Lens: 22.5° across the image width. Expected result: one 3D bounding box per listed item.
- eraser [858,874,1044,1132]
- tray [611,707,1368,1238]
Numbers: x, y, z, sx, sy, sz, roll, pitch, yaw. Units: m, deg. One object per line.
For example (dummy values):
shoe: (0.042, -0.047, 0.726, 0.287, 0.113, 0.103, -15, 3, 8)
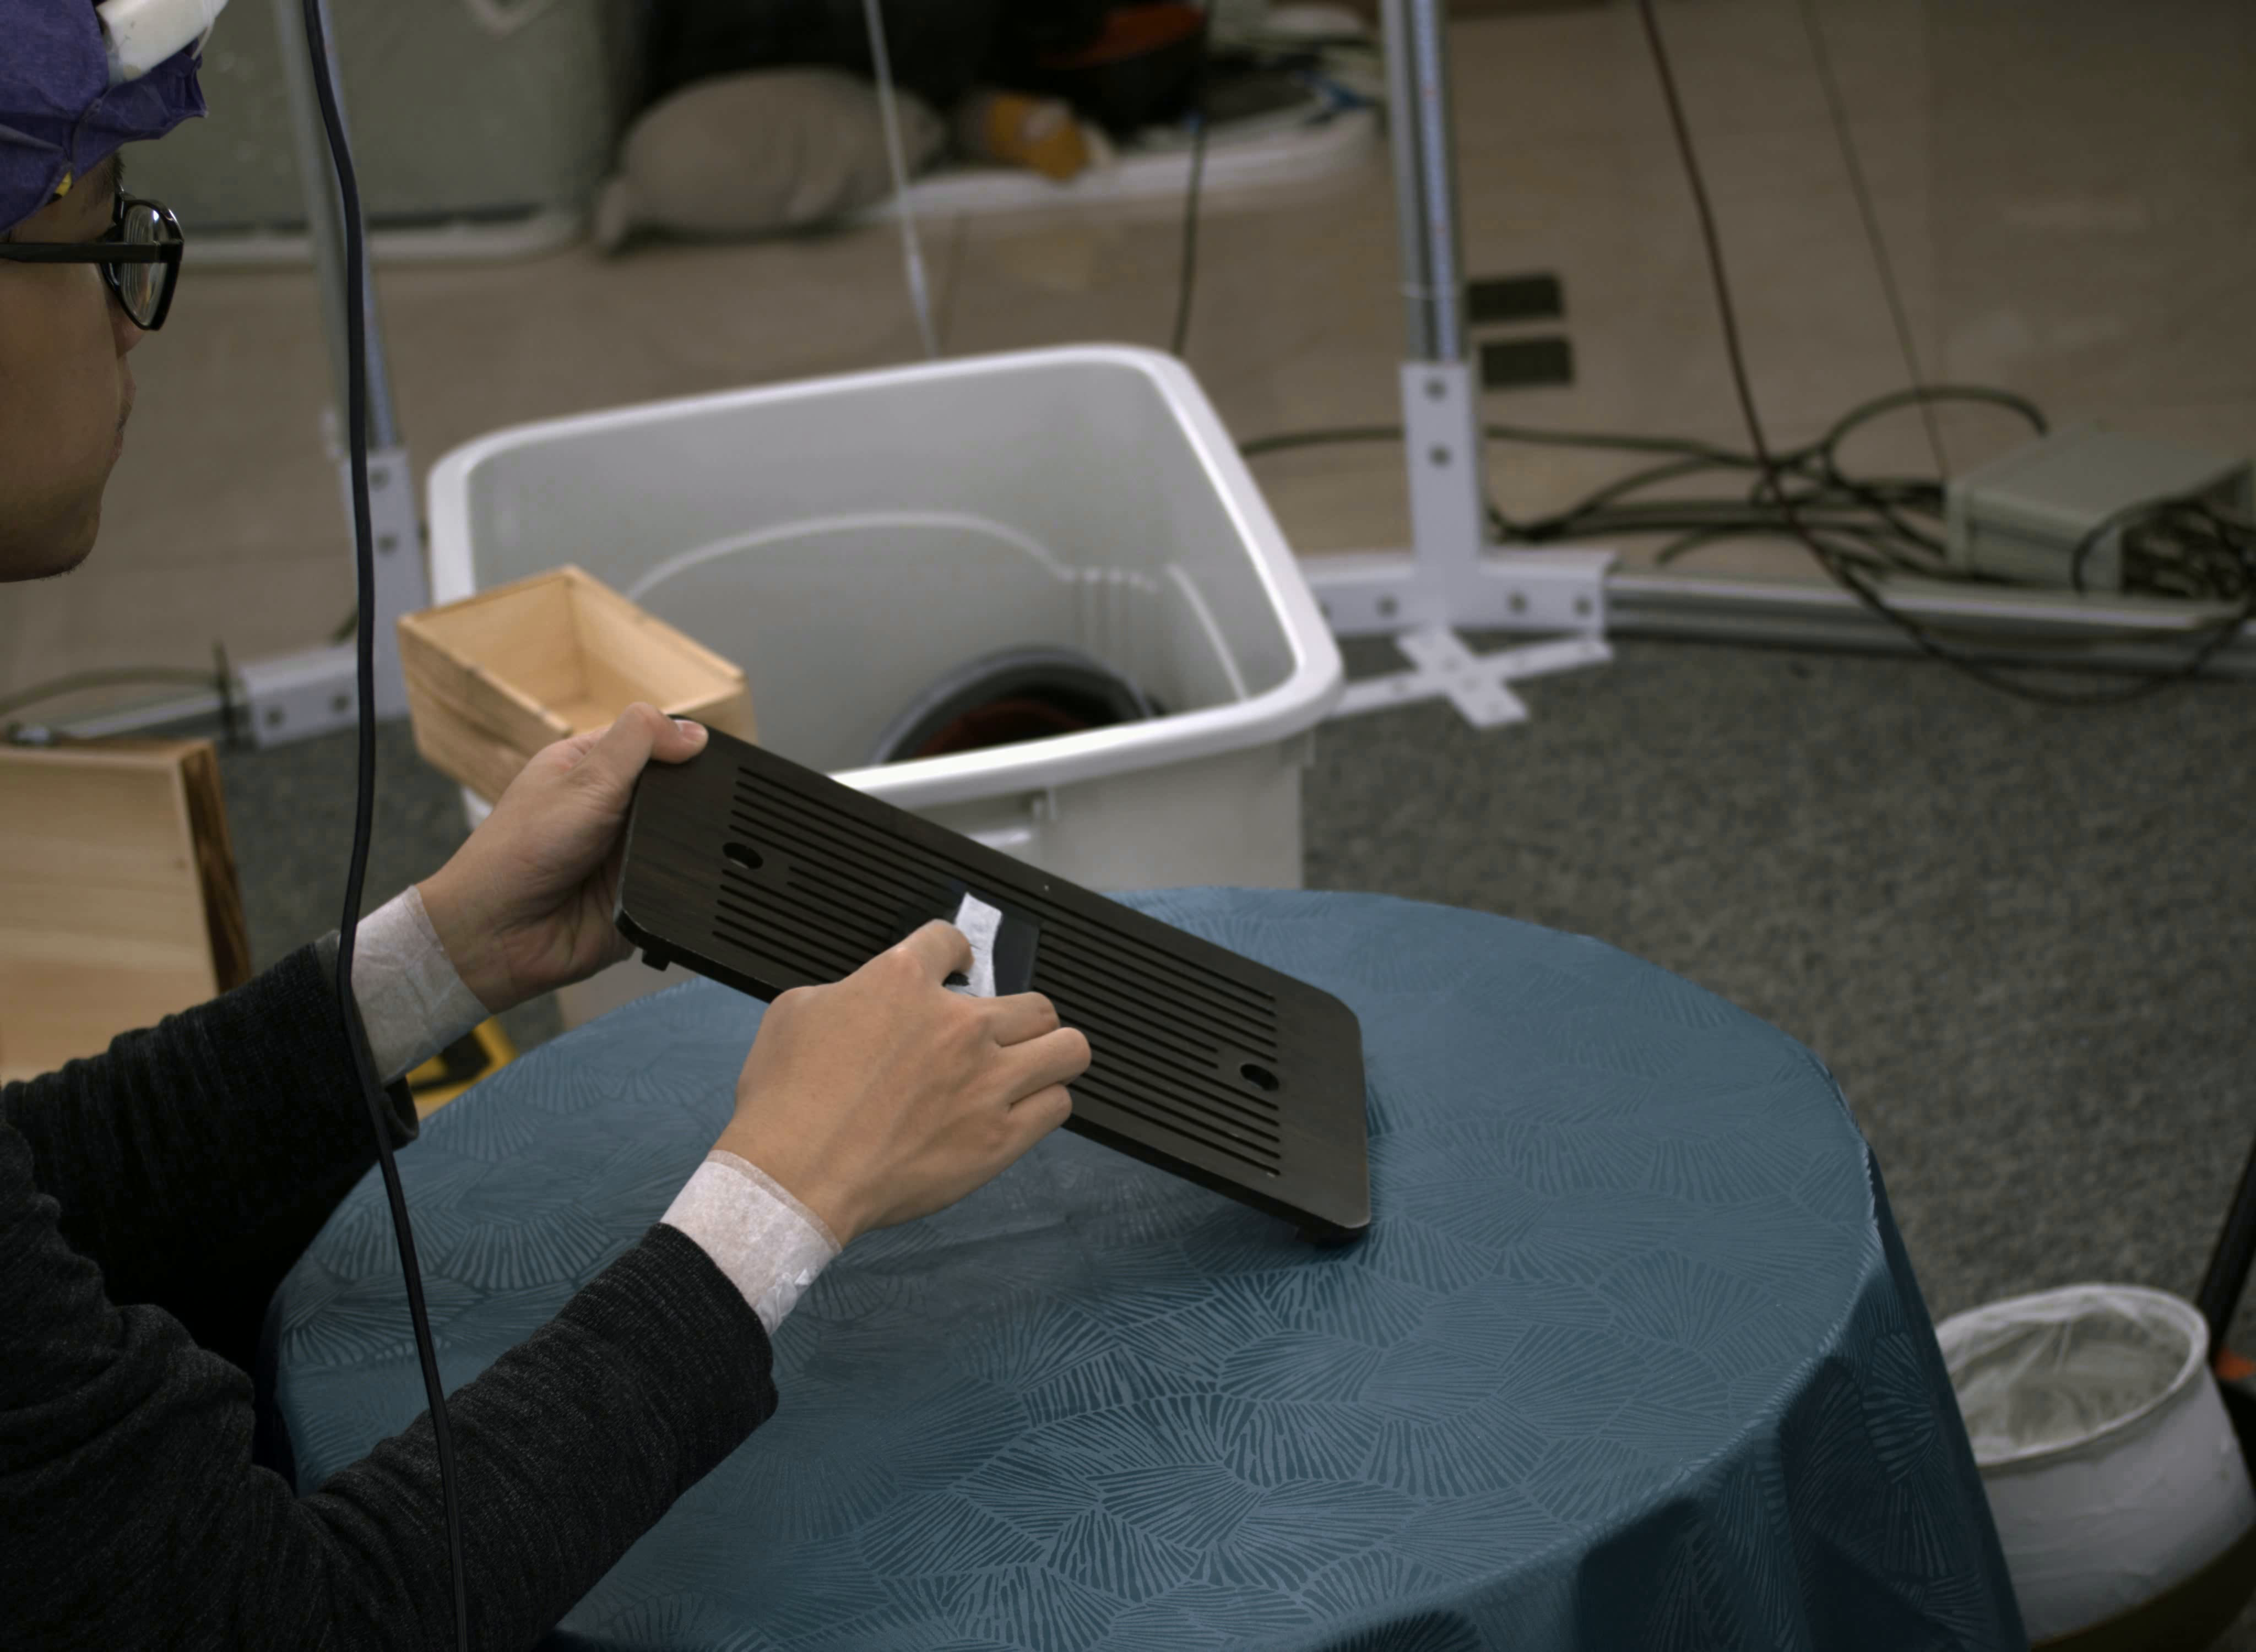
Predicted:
eraser: (-0.064, 0.062, 2.054, 0.053, 0.031, 0.123, 23, 27, -6)
tray: (-0.050, 0.056, 2.131, 0.306, 0.019, 0.167, 24, 27, -12)
